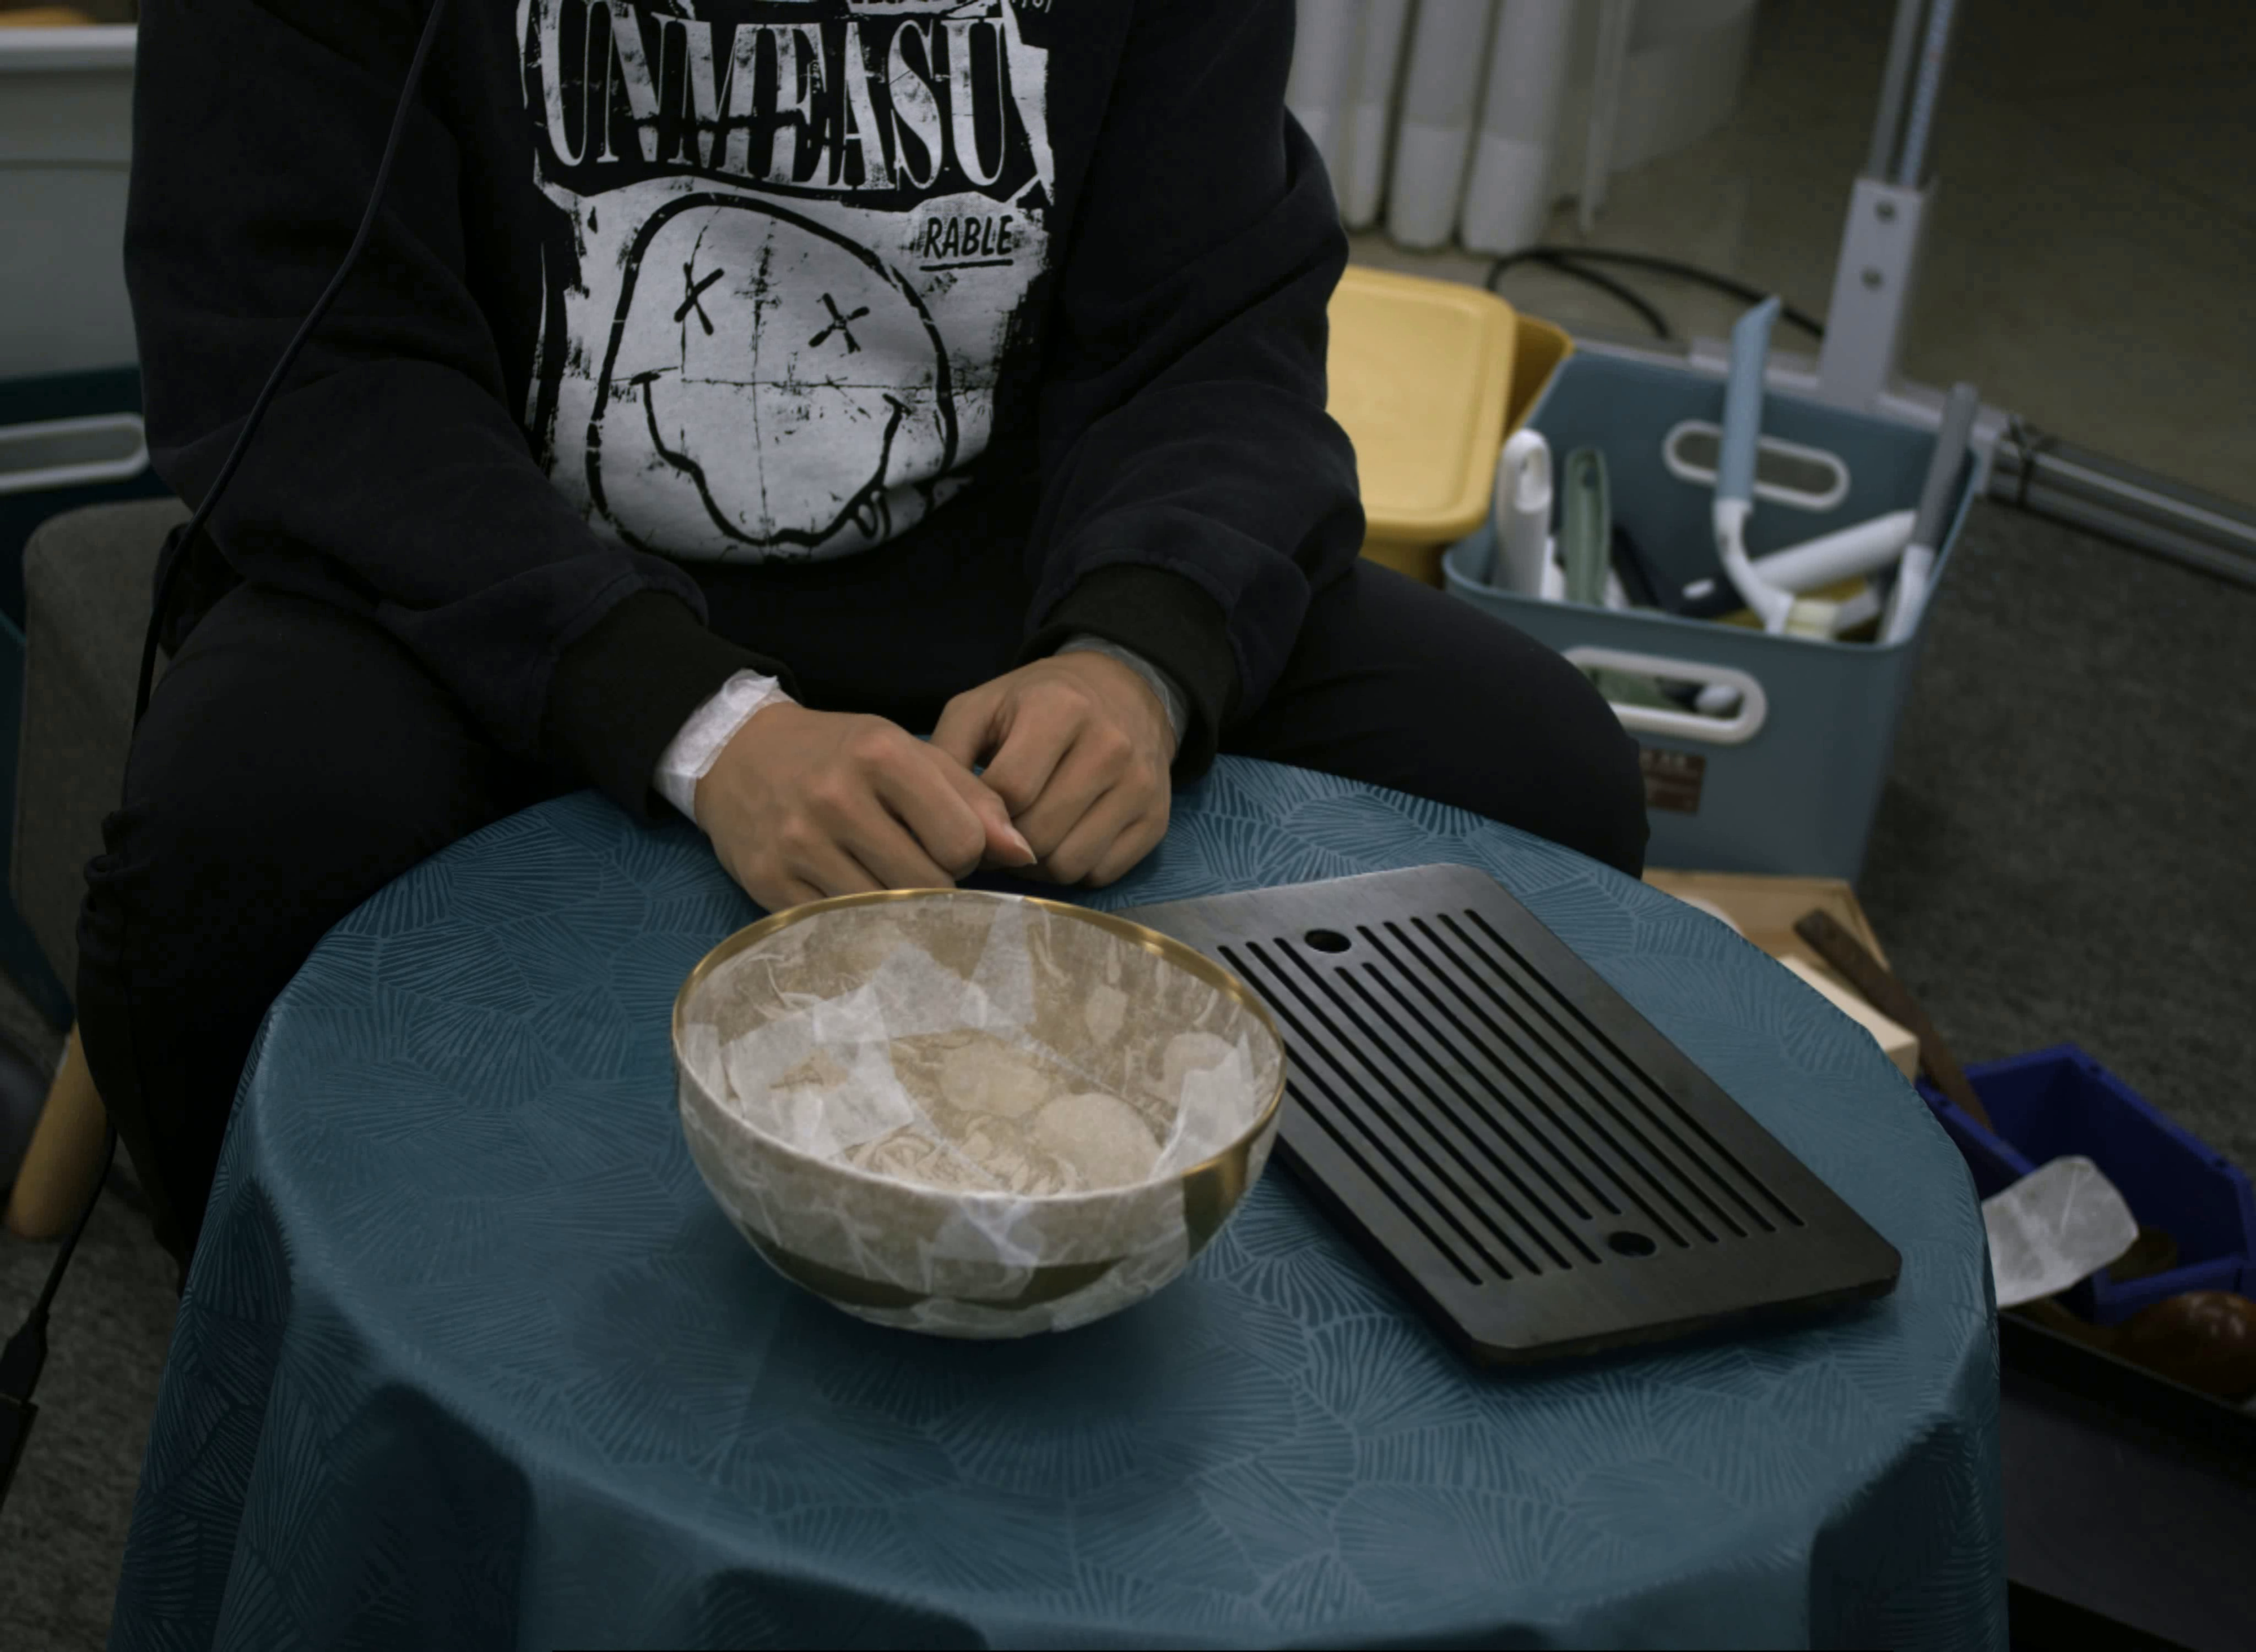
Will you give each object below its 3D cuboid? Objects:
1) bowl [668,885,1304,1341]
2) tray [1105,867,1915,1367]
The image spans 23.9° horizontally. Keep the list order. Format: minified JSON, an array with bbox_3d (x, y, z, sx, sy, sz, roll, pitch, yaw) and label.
[{"bbox_3d":[-0.049,0.105,1.725,0.214,0.094,0.216,4,26,-2],"label":"bowl"},{"bbox_3d":[0.125,0.098,1.859,0.169,0.018,0.309,-7,30,-26],"label":"tray"}]
